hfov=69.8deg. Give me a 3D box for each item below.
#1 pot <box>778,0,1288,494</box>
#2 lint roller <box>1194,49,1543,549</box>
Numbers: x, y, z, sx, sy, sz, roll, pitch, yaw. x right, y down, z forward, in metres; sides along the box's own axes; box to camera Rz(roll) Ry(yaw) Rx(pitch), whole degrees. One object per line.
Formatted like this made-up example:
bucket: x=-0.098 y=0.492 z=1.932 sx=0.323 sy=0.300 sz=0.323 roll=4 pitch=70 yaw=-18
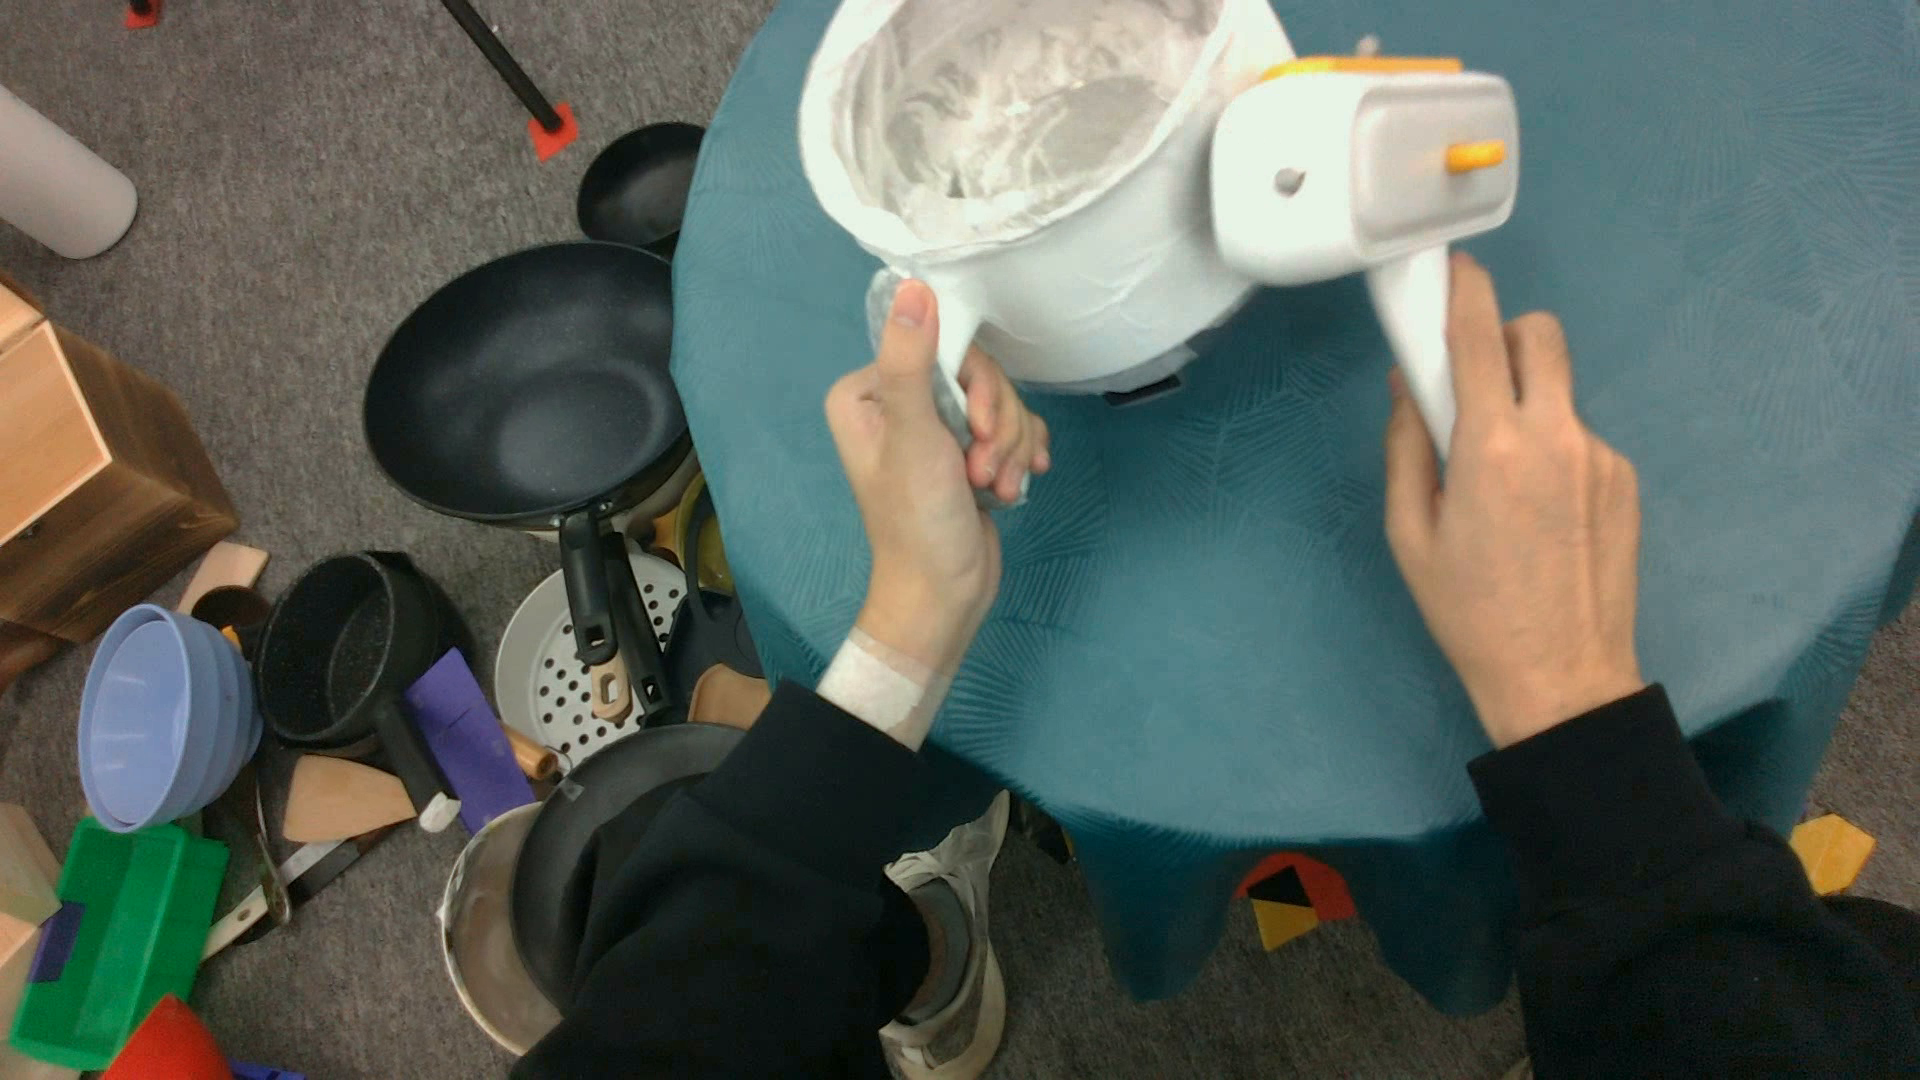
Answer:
pot: x=0.027 y=-0.140 z=0.543 sx=0.178 sy=0.136 sz=0.234 roll=14 pitch=75 yaw=35
lint roller: x=0.167 y=-0.086 z=0.516 sx=0.074 sy=0.194 sz=0.192 roll=-10 pitch=103 yaw=35
